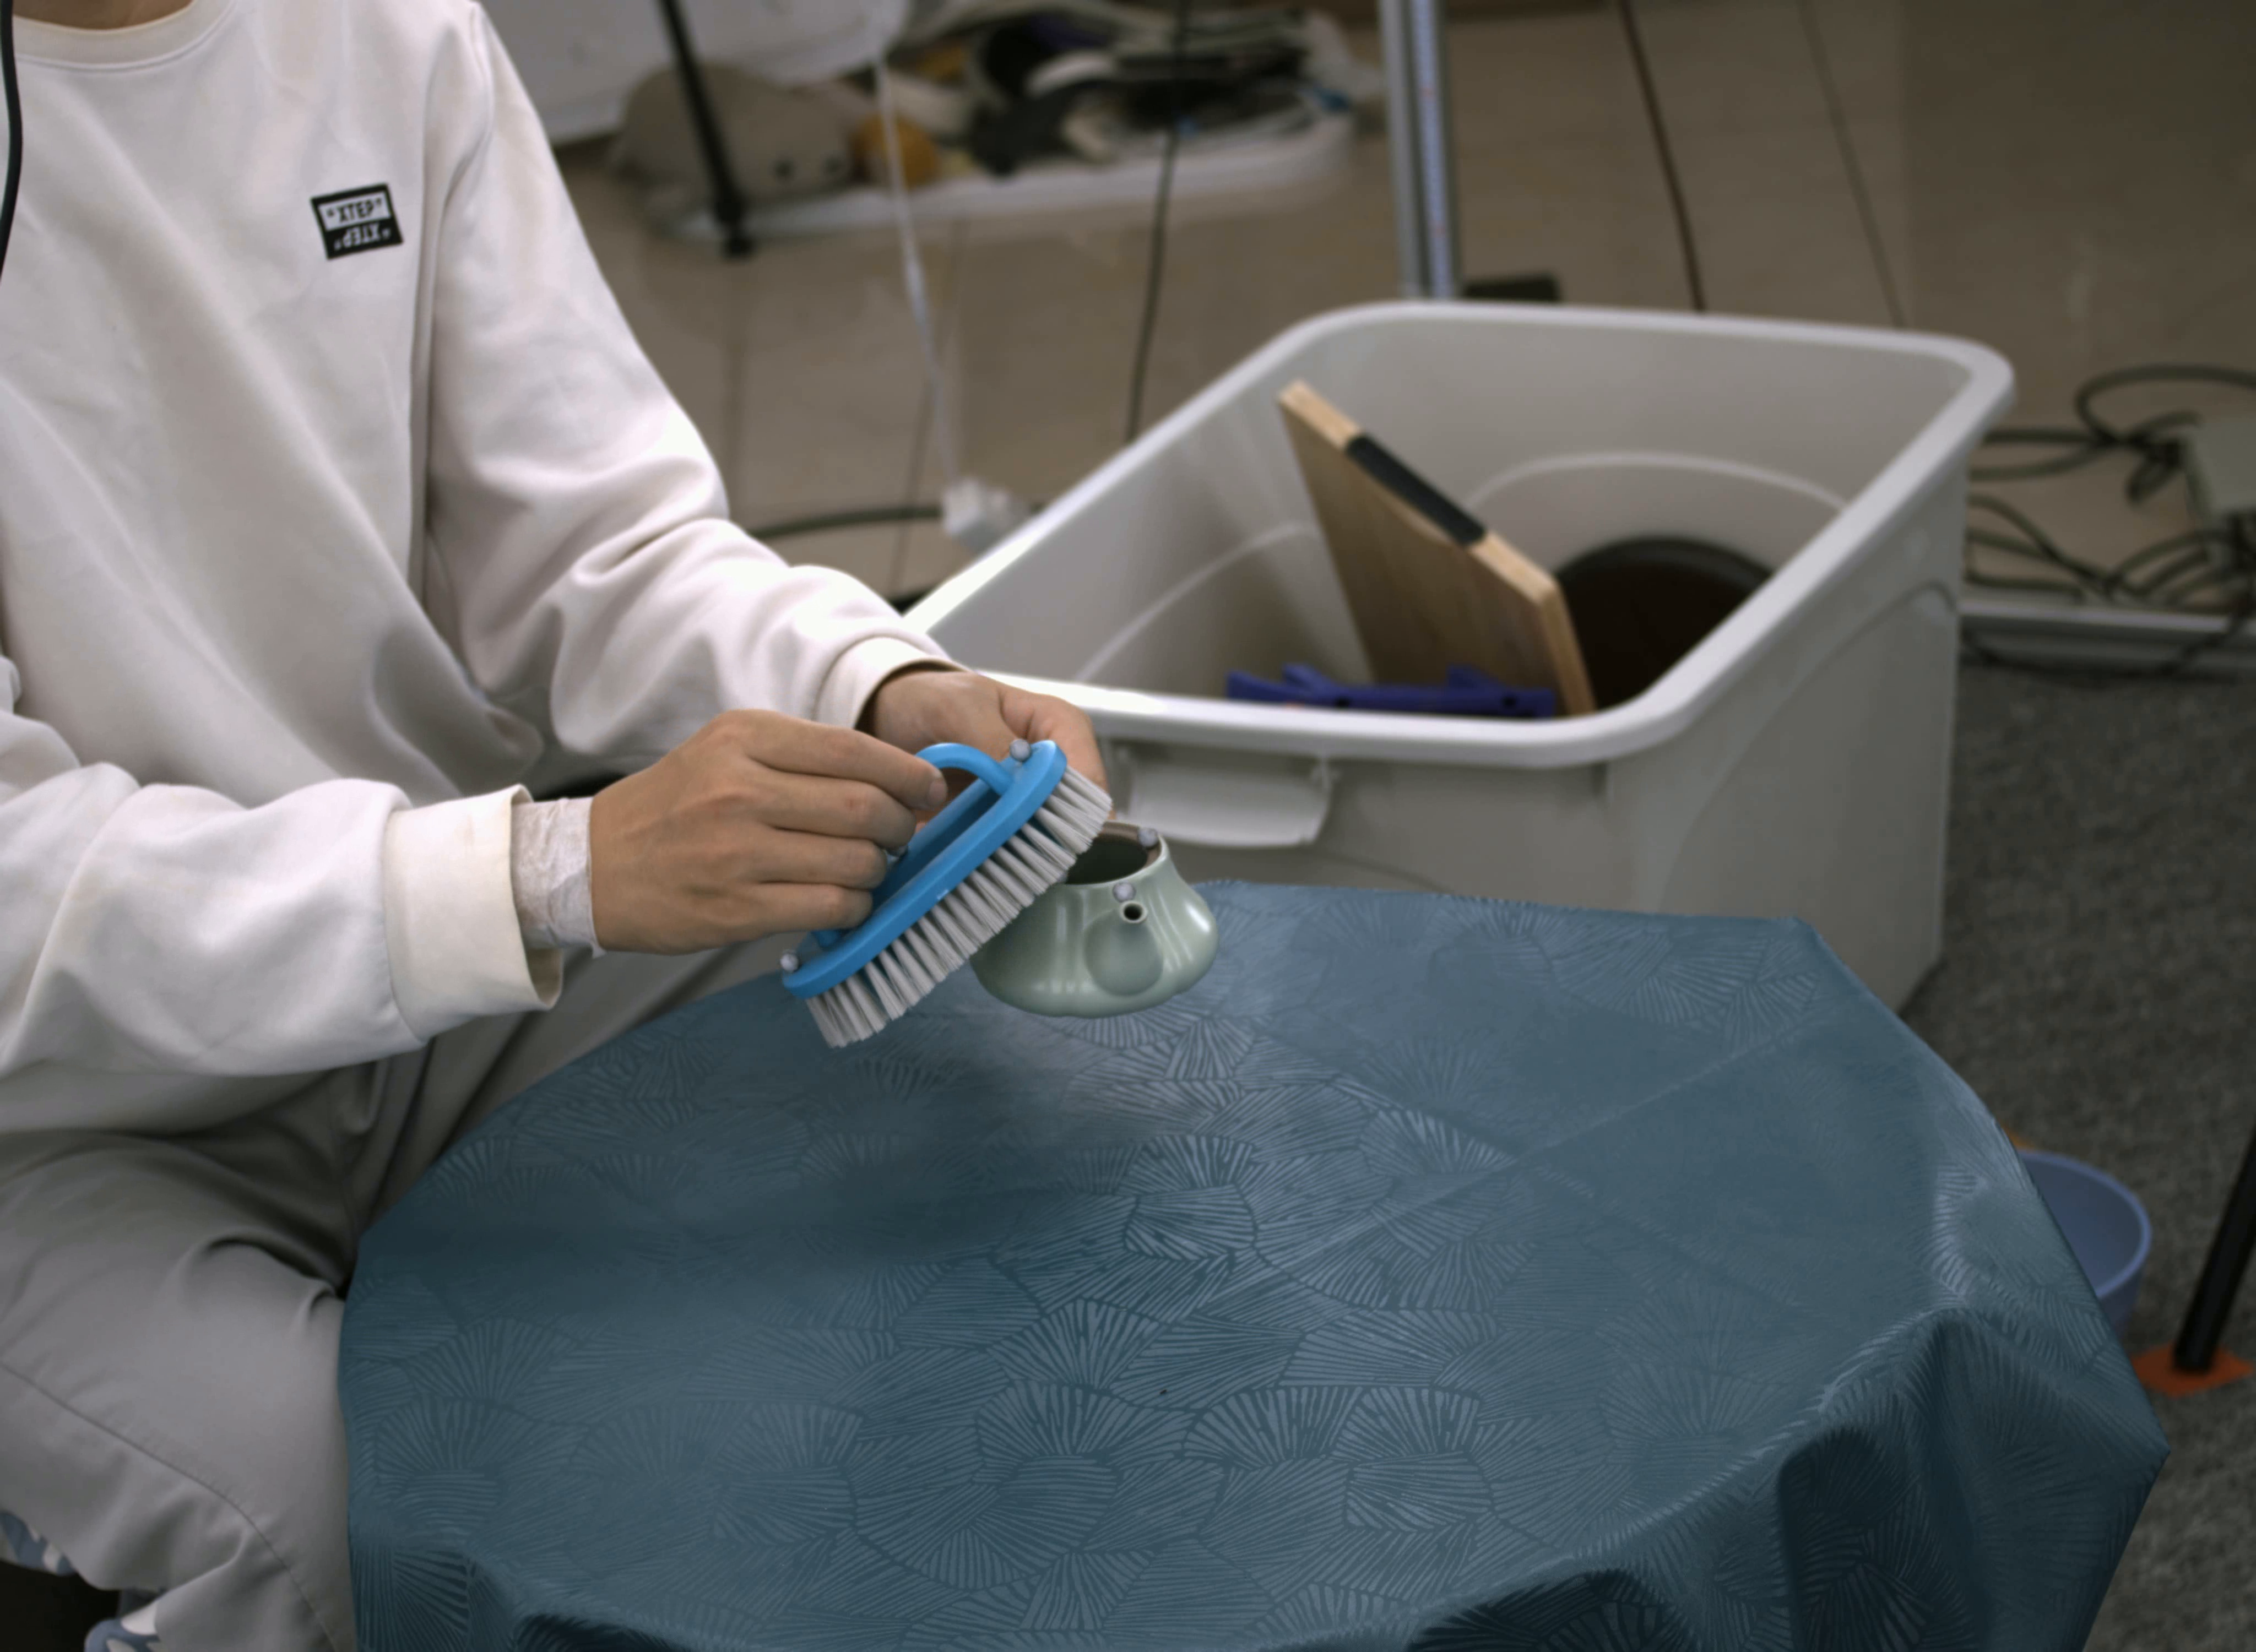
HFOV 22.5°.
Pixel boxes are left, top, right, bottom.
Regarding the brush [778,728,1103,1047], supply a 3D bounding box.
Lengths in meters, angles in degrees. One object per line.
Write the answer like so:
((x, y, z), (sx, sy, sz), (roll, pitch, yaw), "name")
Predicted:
((-0.078, 0.014, 2.121), (0.142, 0.064, 0.083), (-43, 24, 1), "brush")

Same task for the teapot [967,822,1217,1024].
((-0.017, 0.034, 2.165), (0.096, 0.062, 0.135), (-16, 26, -14), "teapot")
